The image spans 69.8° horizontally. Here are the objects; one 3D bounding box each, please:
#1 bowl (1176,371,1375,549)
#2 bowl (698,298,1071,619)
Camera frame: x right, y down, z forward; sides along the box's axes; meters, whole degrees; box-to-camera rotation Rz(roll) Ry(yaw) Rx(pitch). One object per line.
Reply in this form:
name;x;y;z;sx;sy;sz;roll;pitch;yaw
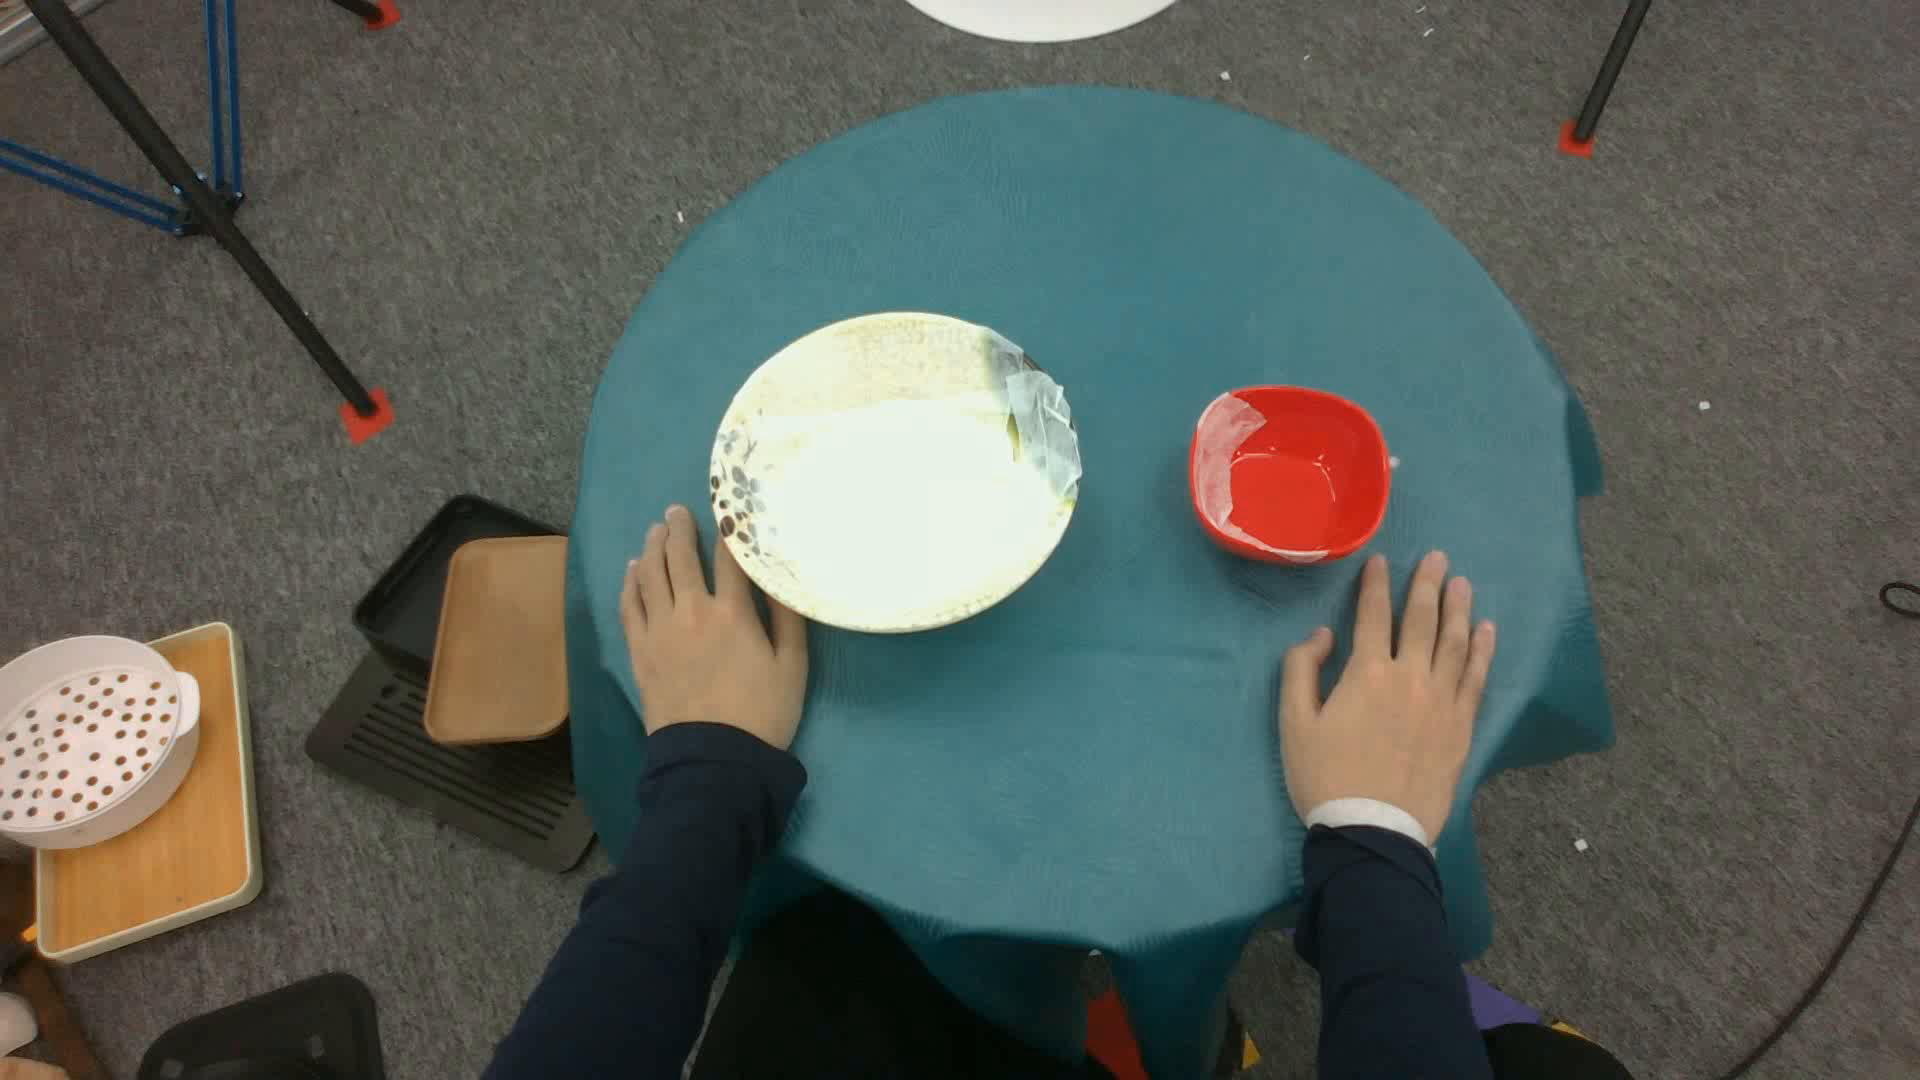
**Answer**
bowl;0.177;-0.038;0.790;0.119;0.051;0.119;0;62;1
bowl;-0.040;-0.034;0.782;0.204;0.077;0.205;-1;62;2
